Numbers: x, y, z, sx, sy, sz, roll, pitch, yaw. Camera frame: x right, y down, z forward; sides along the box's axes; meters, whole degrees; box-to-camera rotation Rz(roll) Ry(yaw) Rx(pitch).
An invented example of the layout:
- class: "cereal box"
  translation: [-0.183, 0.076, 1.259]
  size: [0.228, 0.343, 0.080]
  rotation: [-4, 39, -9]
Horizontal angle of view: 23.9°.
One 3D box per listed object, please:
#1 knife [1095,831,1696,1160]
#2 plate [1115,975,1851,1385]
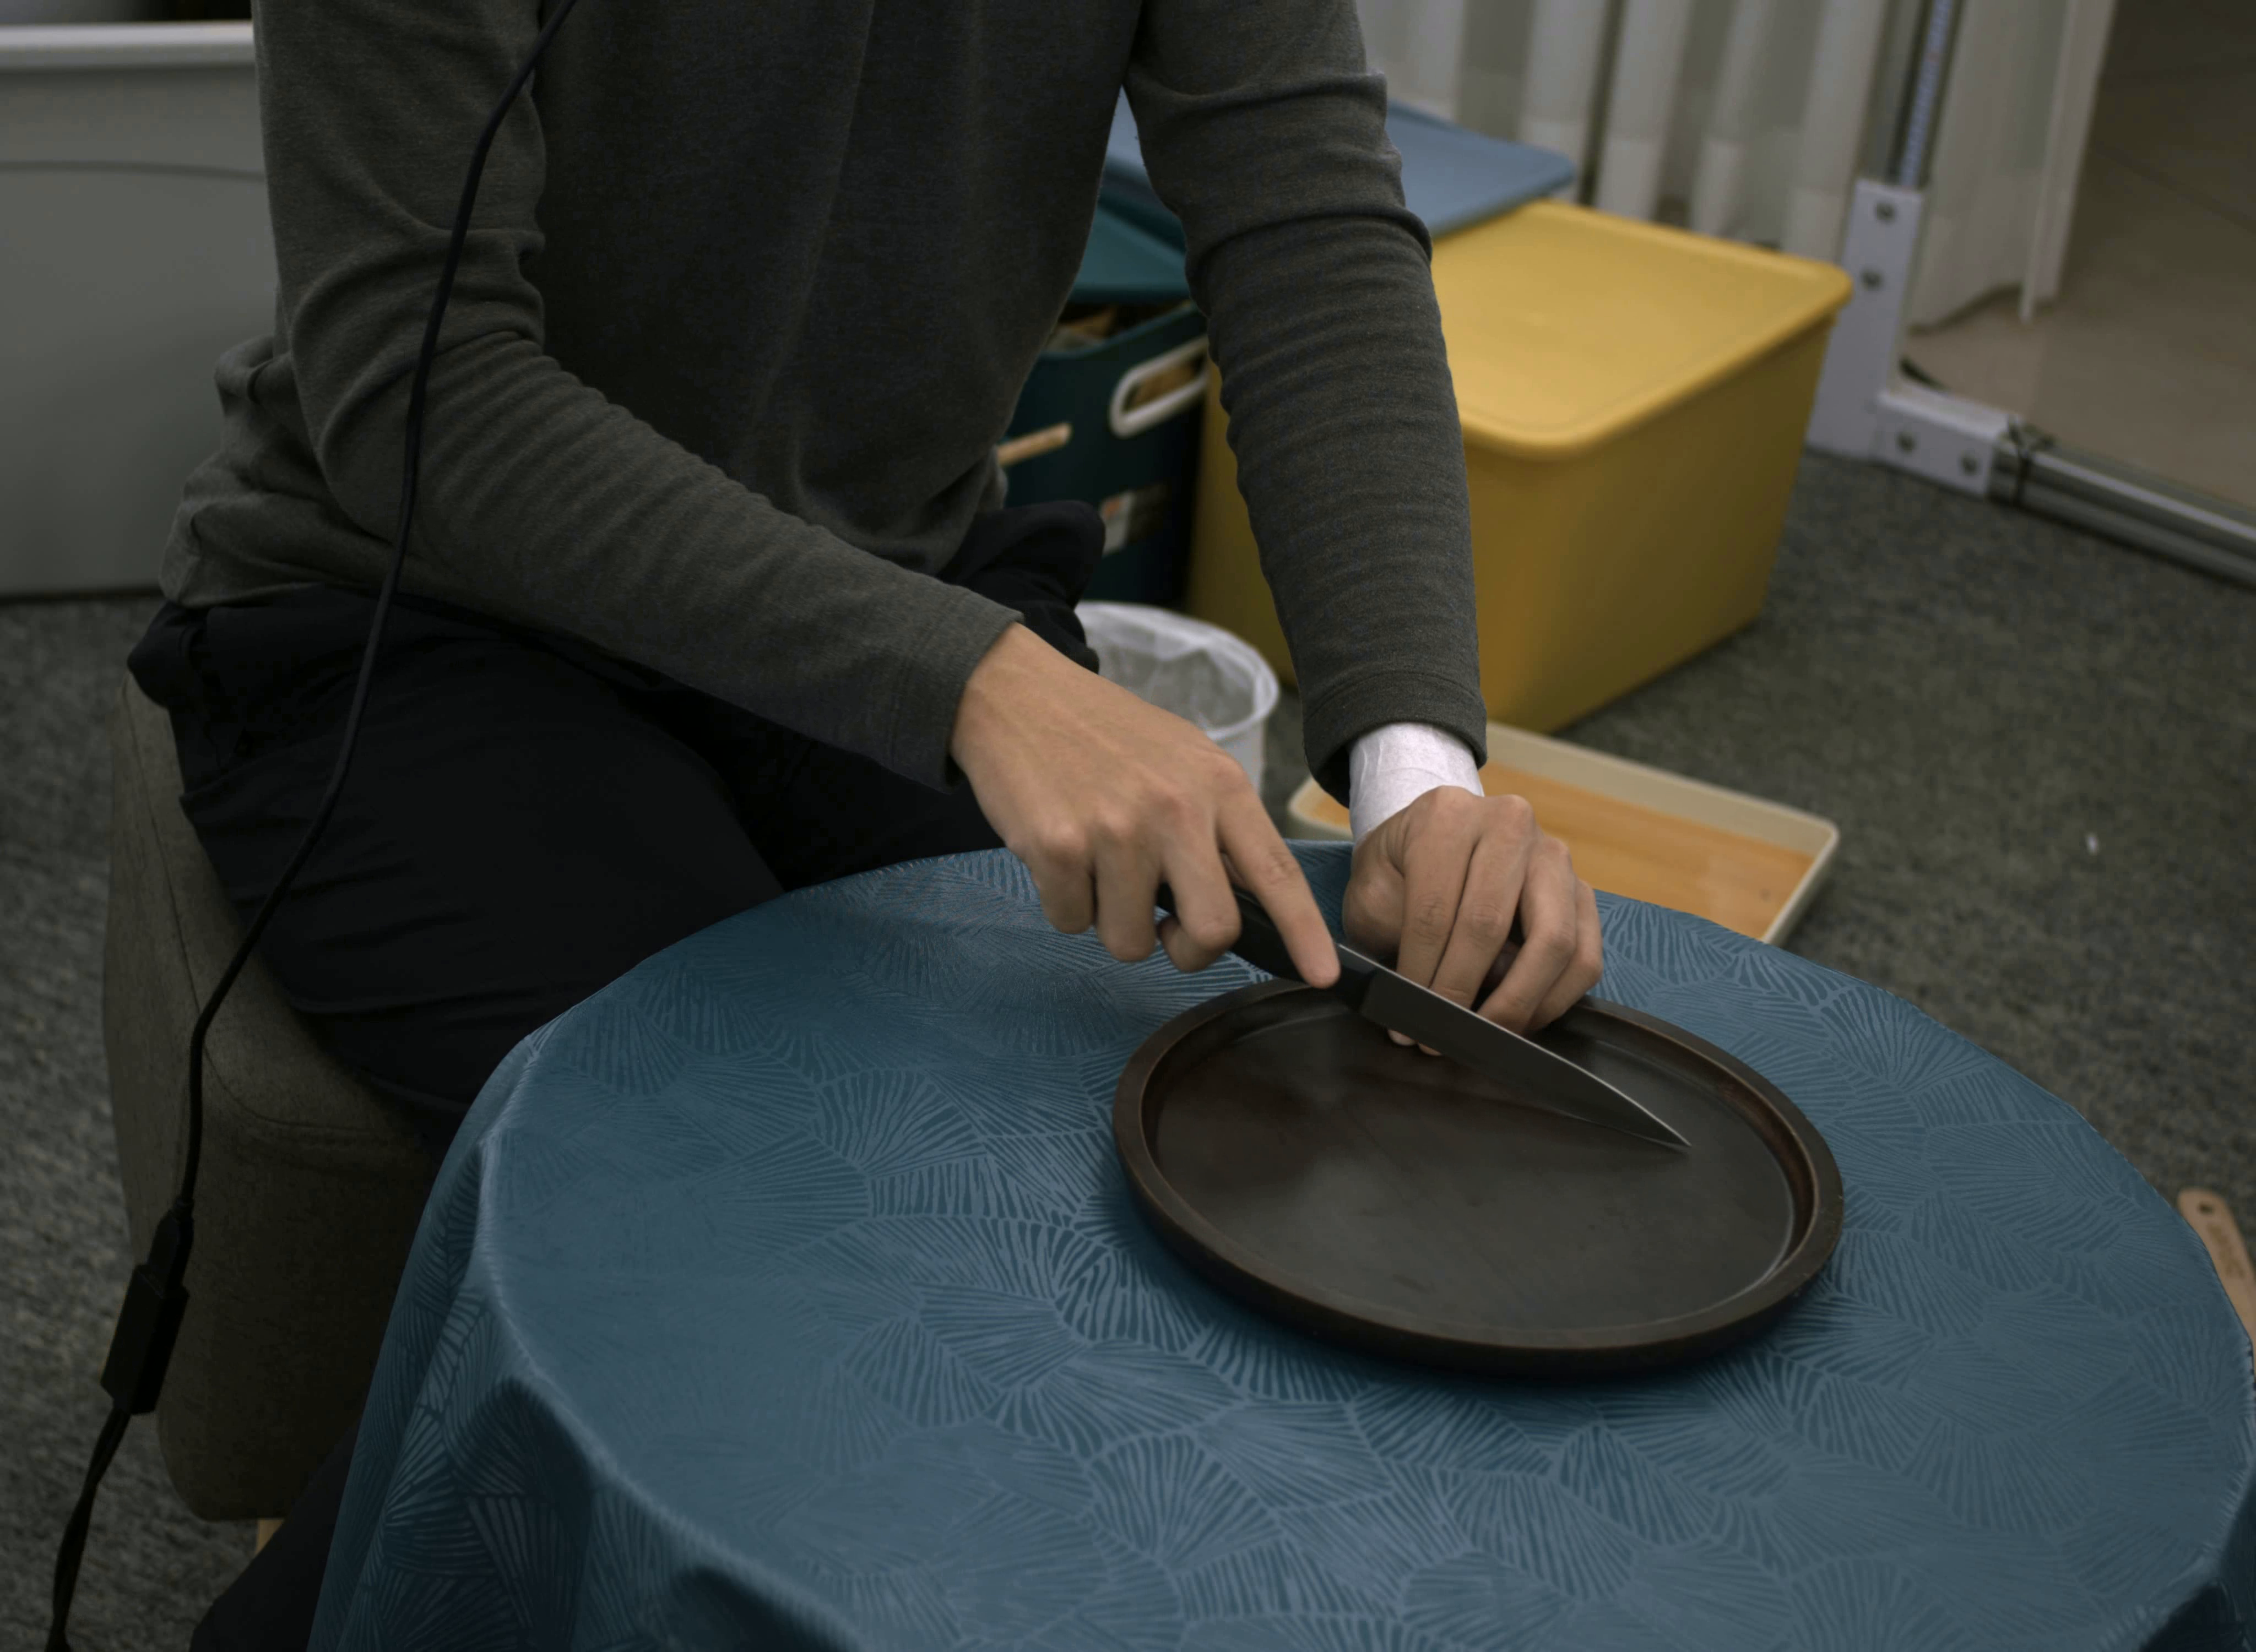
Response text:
- class: "knife"
  translation: [0.095, 0.059, 1.868]
  size: [0.239, 0.024, 0.016]
  rotation: [27, 22, 13]
- class: "plate"
  translation: [0.120, 0.118, 1.818]
  size: [0.254, 0.029, 0.256]
  rotation: [6, 27, -3]
